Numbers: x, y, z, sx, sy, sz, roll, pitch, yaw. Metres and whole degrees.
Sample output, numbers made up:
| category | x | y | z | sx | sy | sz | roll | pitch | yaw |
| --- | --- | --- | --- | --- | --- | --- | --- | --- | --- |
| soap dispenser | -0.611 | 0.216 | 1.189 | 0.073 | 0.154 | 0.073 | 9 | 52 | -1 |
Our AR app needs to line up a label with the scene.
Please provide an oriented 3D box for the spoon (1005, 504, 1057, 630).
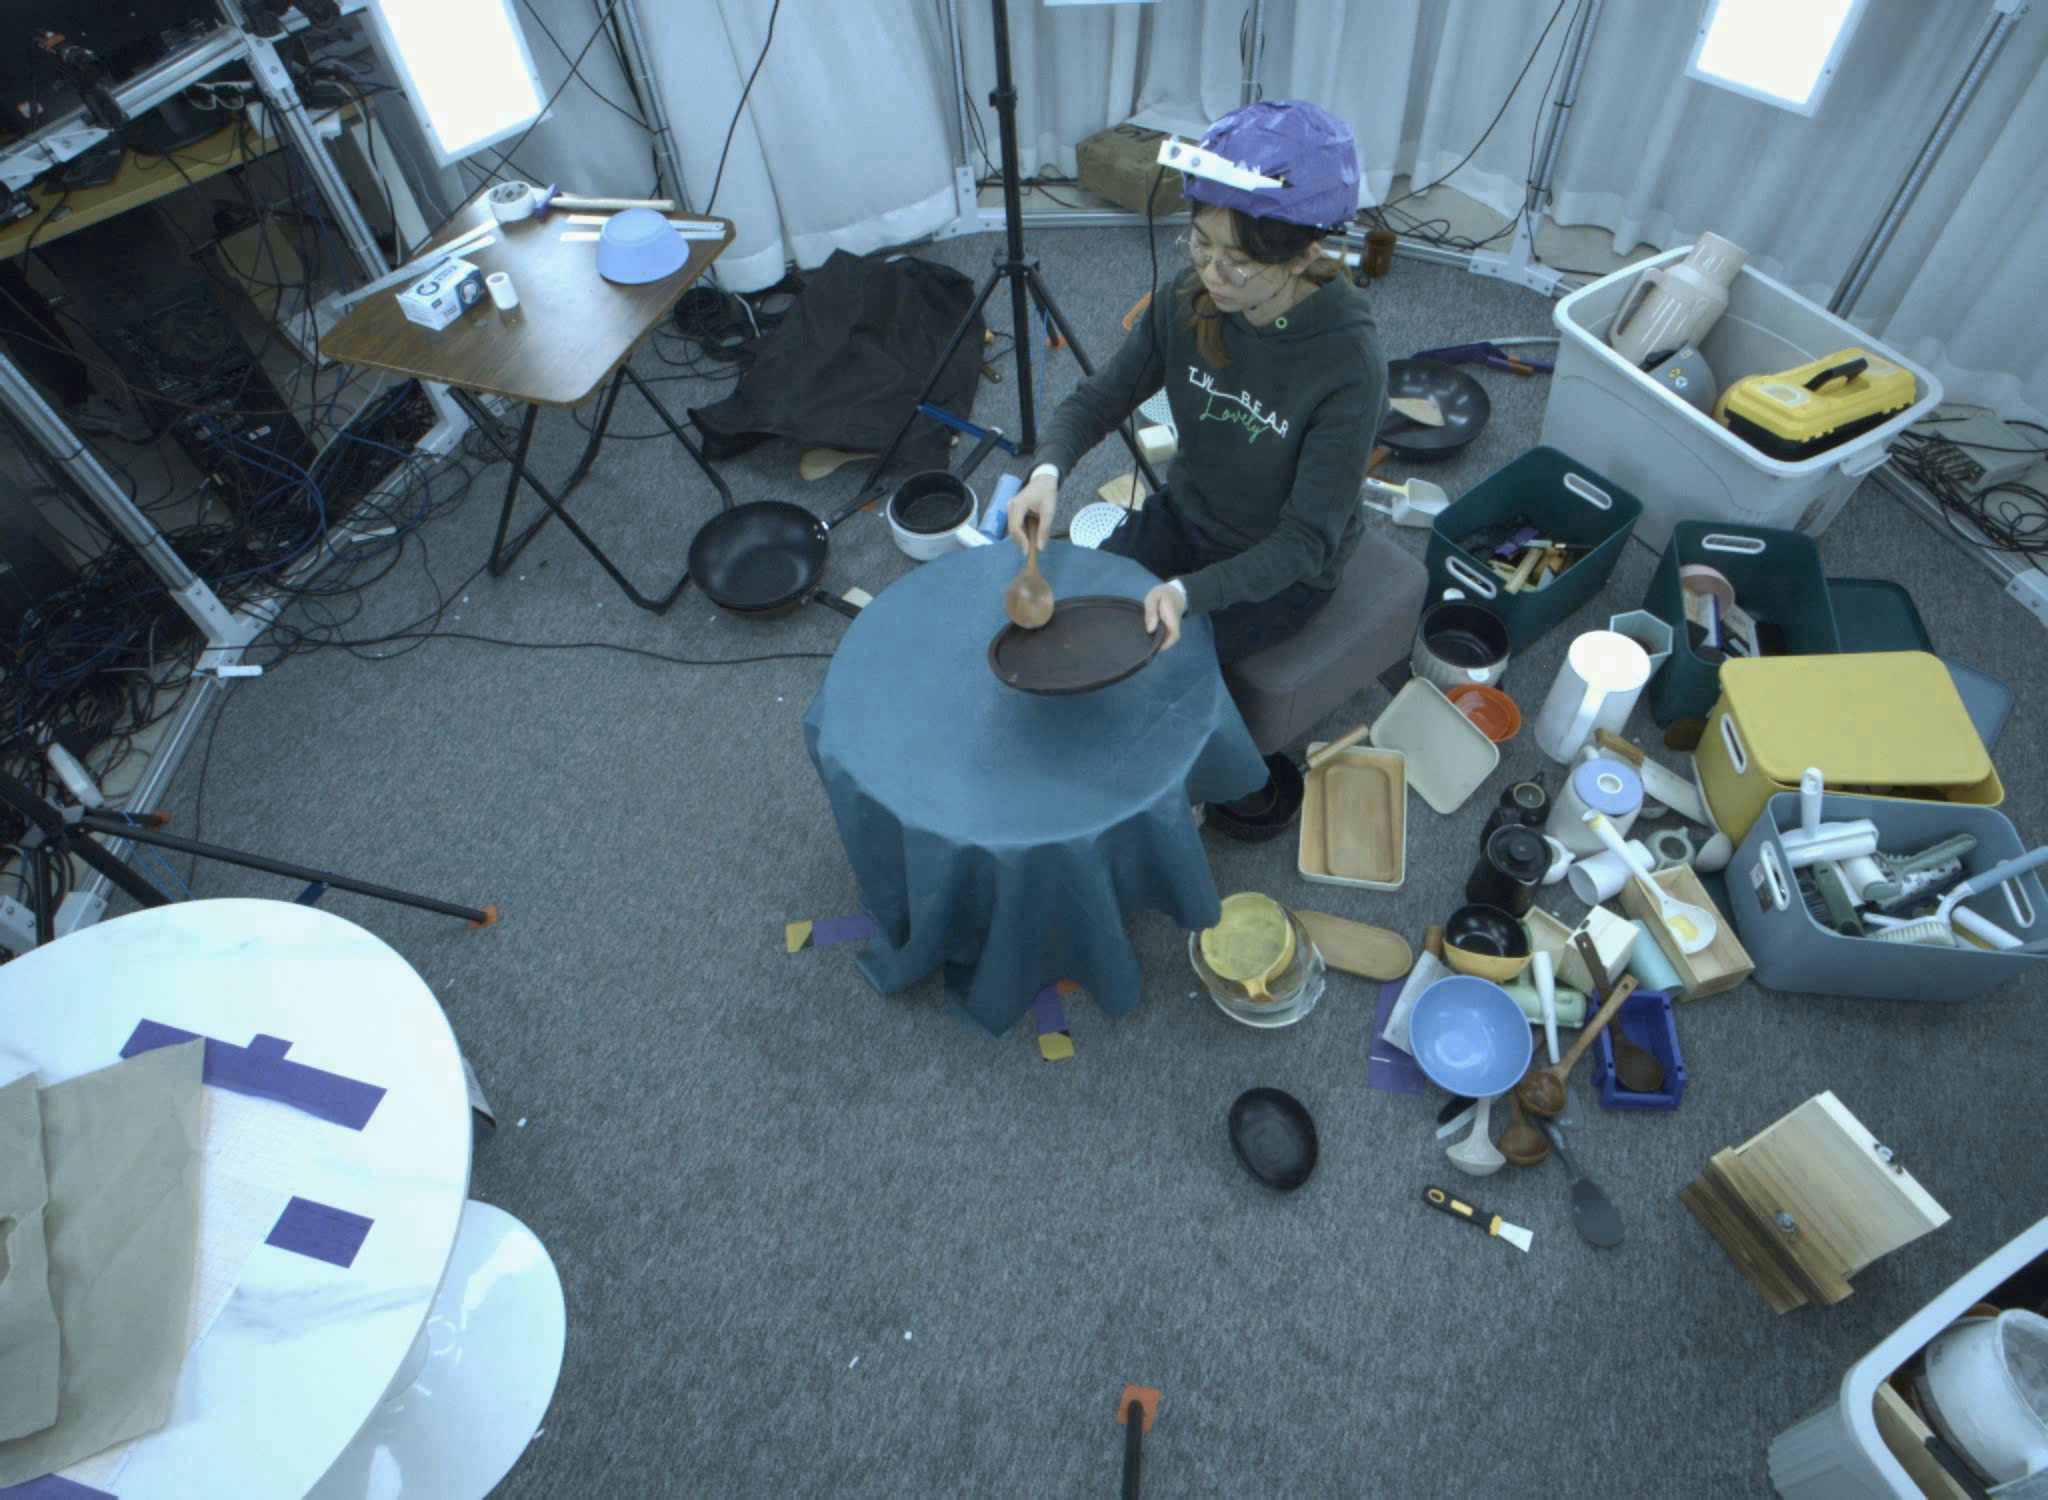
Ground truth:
| category | x | y | z | sx | sy | sz | roll | pitch | yaw |
| --- | --- | --- | --- | --- | --- | --- | --- | --- | --- |
| spoon | 0.012 | -0.272 | 1.825 | 0.076 | 0.017 | 0.214 | 6 | 69 | -7 |

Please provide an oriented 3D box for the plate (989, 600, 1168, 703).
| category | x | y | z | sx | sy | sz | roll | pitch | yaw |
| --- | --- | --- | --- | --- | --- | --- | --- | --- | --- |
| plate | 0.077 | -0.141 | 1.734 | 0.254 | 0.029 | 0.252 | -7 | 37 | 7 |
